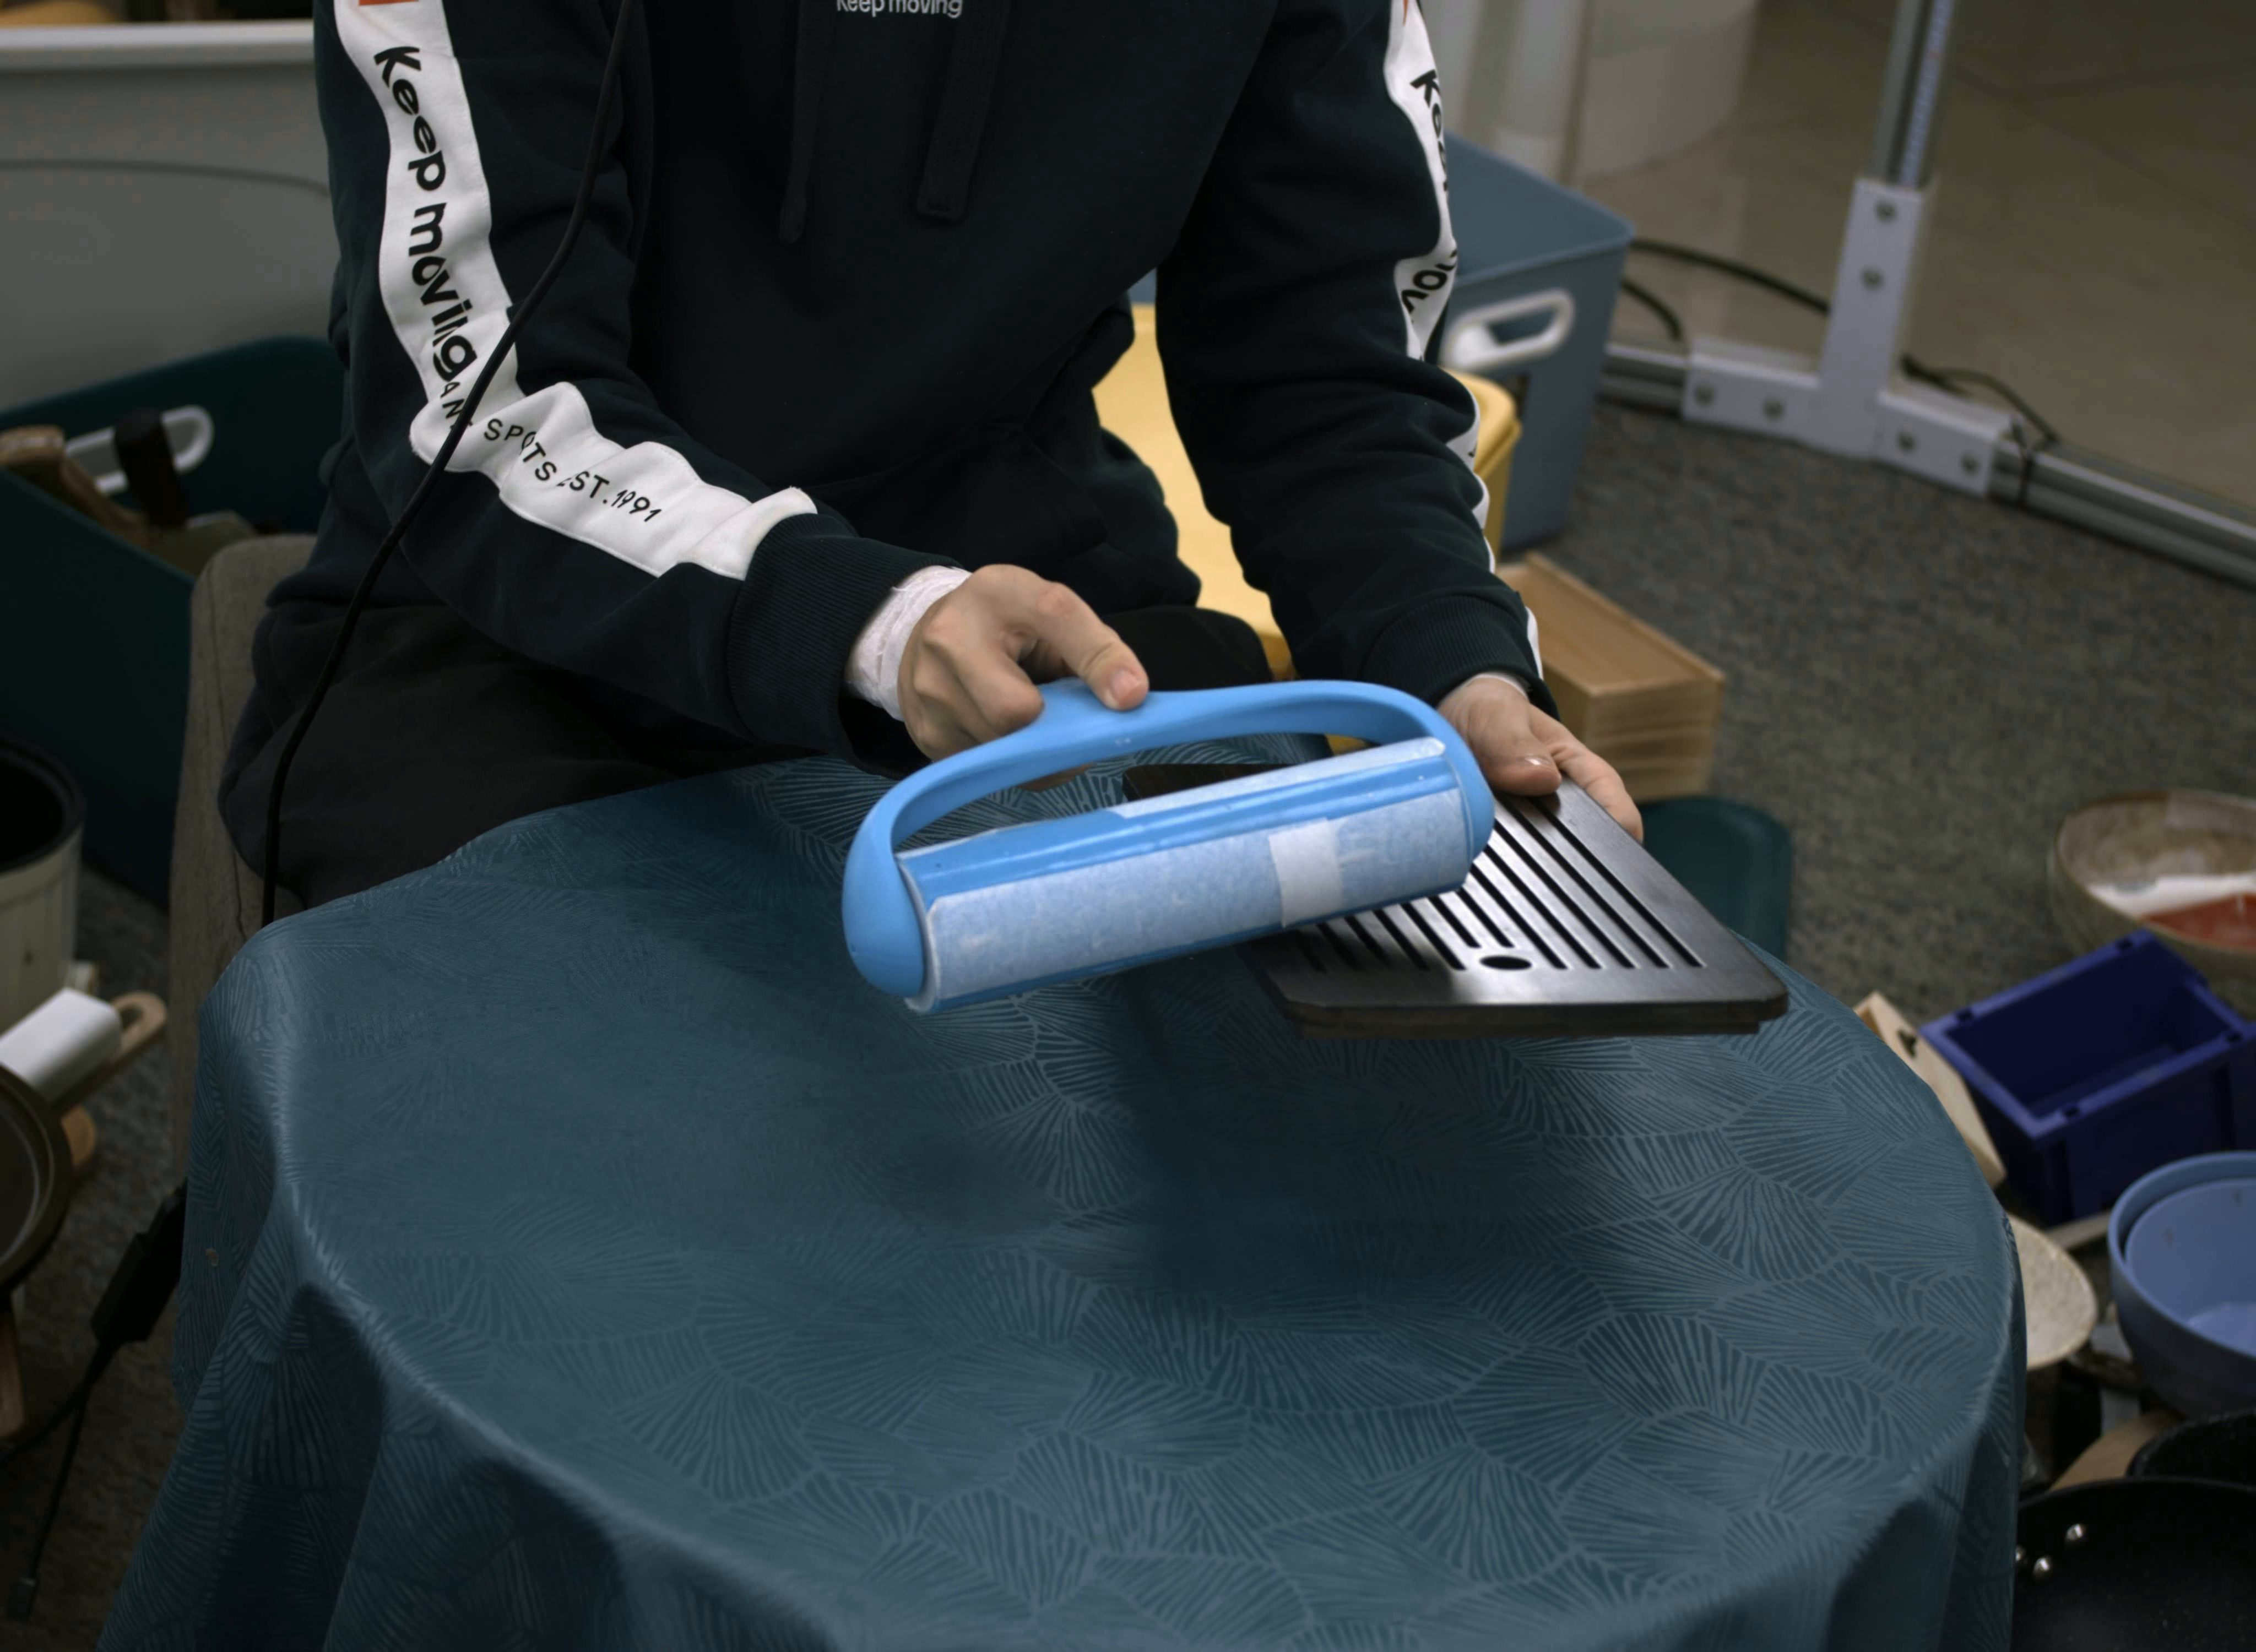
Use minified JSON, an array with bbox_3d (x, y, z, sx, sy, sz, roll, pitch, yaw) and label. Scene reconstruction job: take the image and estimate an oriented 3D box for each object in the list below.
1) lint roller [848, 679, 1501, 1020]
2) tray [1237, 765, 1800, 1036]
[{"bbox_3d":[-0.009,-0.014,1.785,0.228,0.067,0.182,-16,35,-21],"label":"lint roller"},{"bbox_3d":[0.108,0.024,1.841,0.169,0.018,0.307,-1,15,-11],"label":"tray"}]
